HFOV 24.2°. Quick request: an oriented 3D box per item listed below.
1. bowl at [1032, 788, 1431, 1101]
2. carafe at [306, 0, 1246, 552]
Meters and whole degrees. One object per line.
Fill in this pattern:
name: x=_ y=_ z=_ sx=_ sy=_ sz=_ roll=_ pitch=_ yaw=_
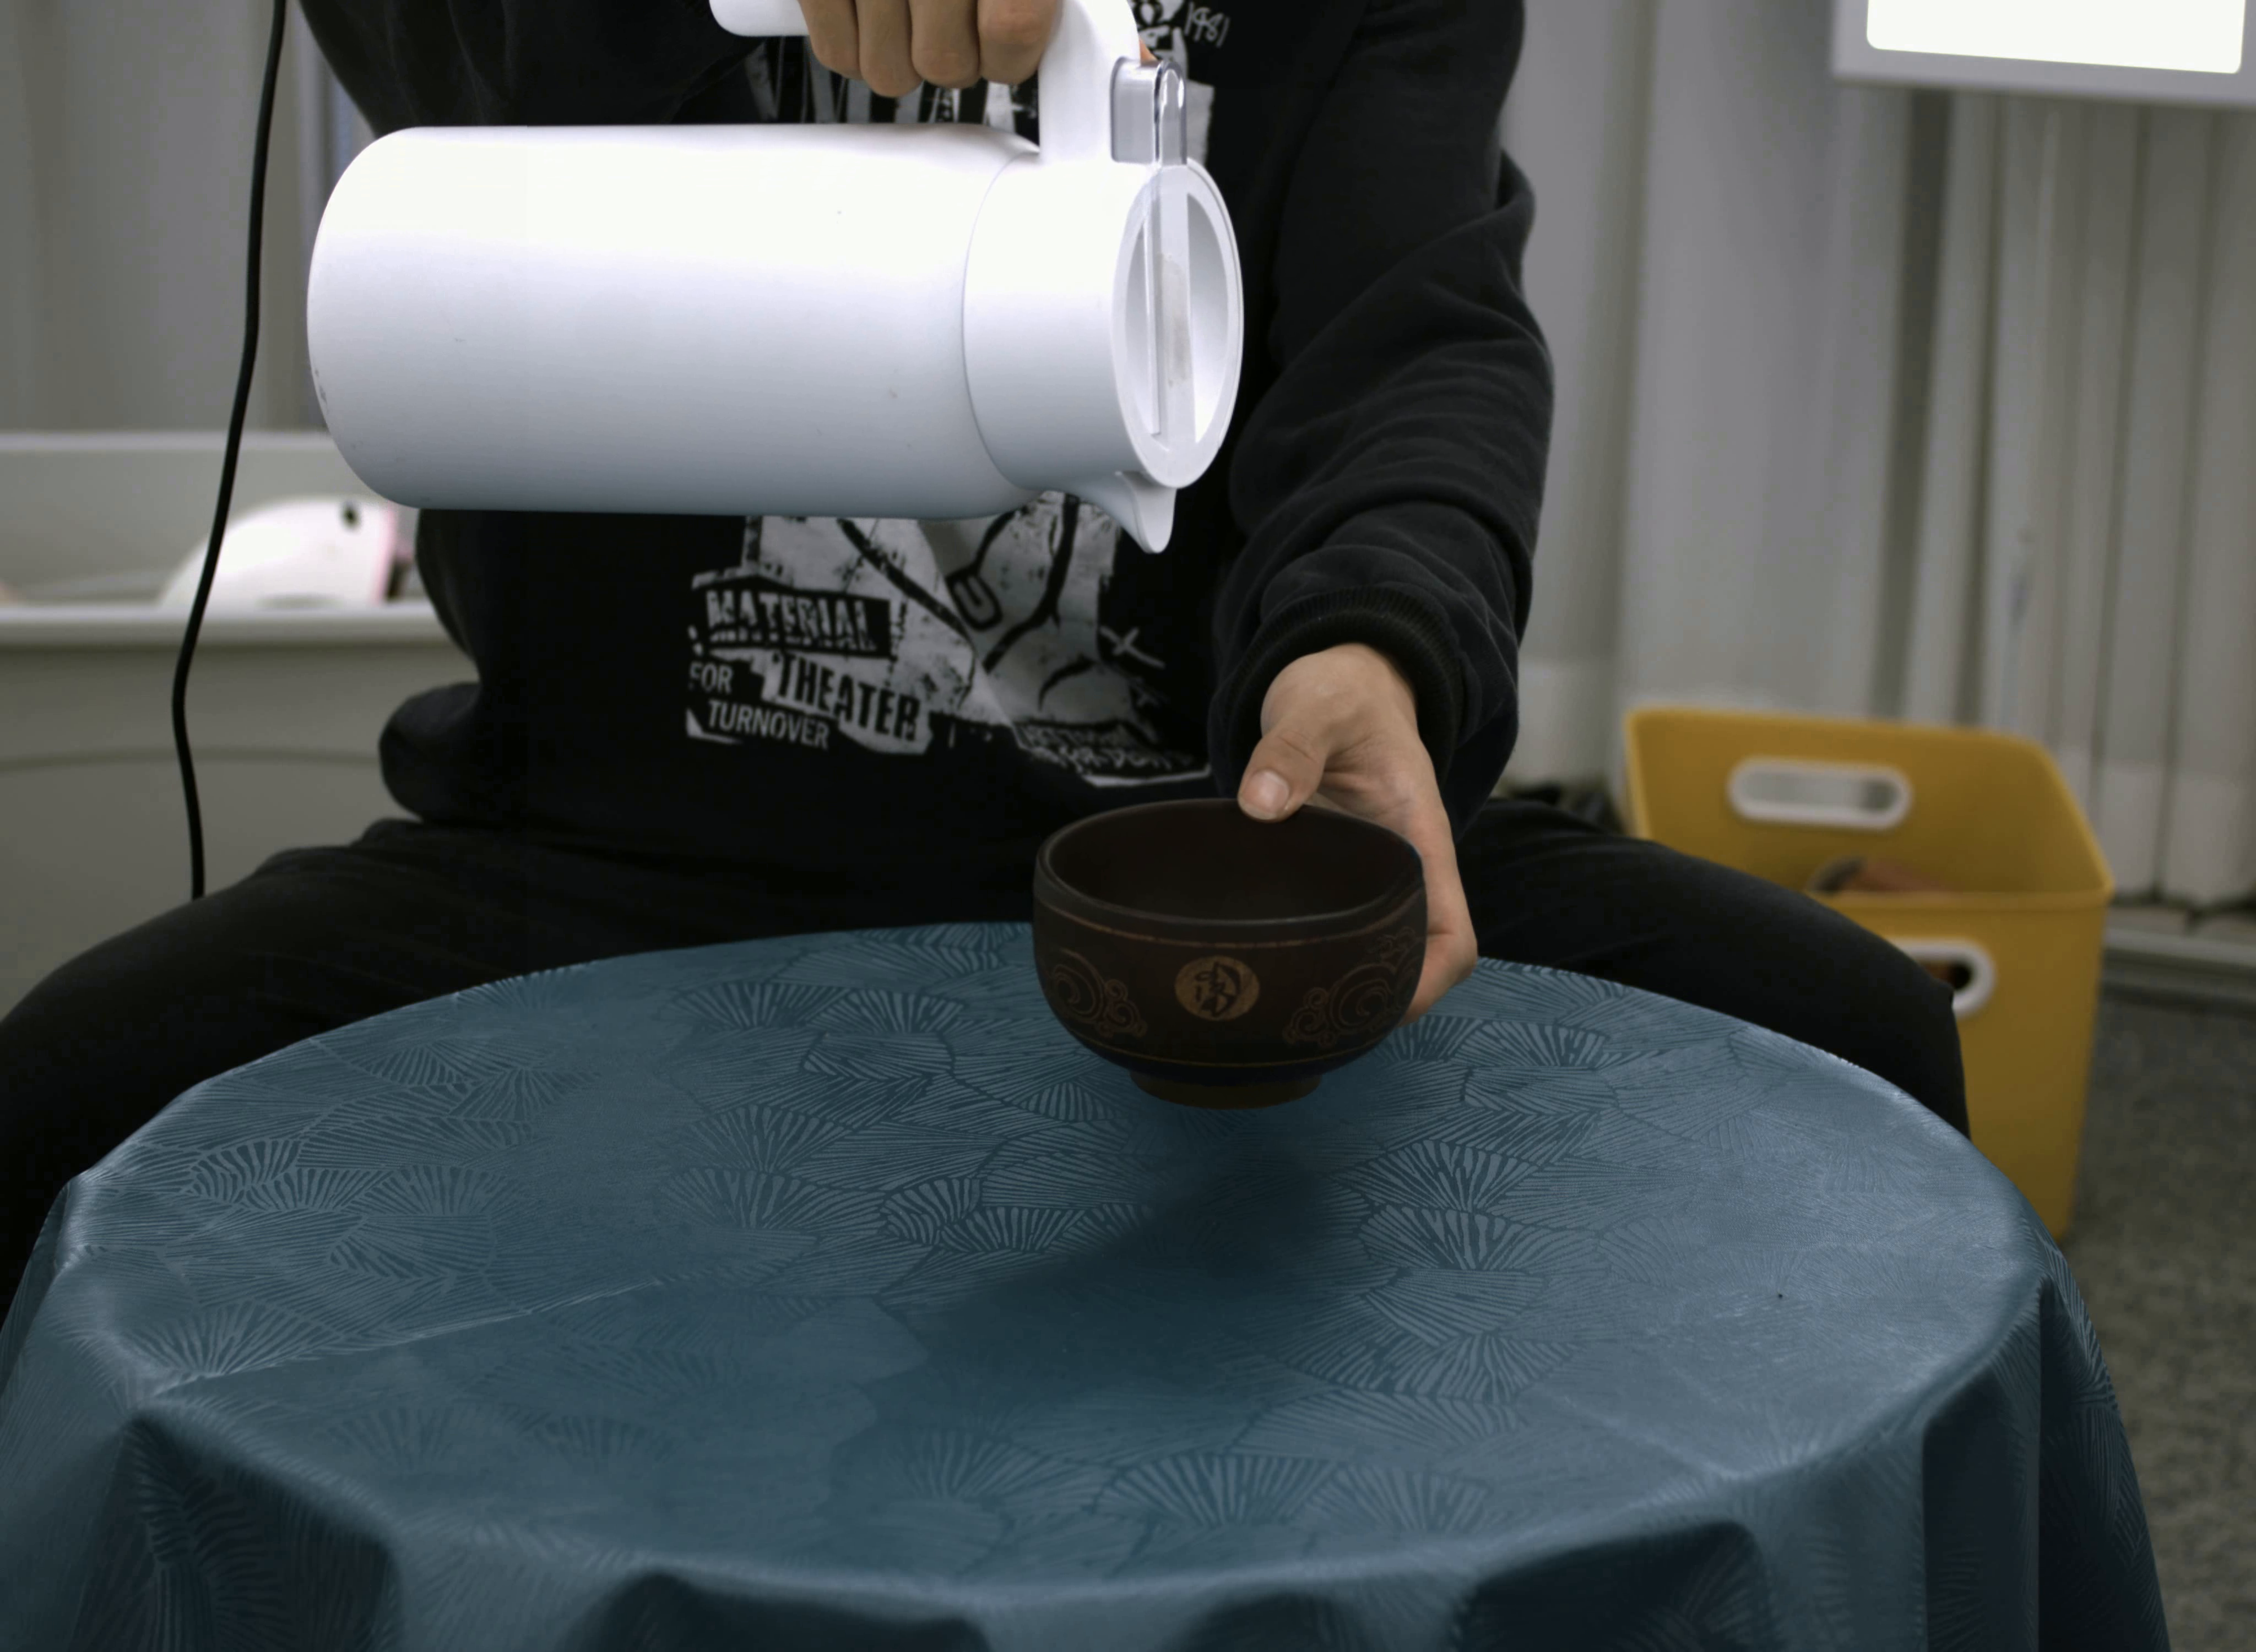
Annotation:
bowl: x=0.030 y=0.039 z=1.550 sx=0.117 sy=0.070 sz=0.117 roll=1 pitch=18 yaw=0
carafe: x=-0.106 y=-0.169 z=1.562 sx=0.266 sy=0.174 sz=0.124 roll=3 pitch=14 yaw=25
